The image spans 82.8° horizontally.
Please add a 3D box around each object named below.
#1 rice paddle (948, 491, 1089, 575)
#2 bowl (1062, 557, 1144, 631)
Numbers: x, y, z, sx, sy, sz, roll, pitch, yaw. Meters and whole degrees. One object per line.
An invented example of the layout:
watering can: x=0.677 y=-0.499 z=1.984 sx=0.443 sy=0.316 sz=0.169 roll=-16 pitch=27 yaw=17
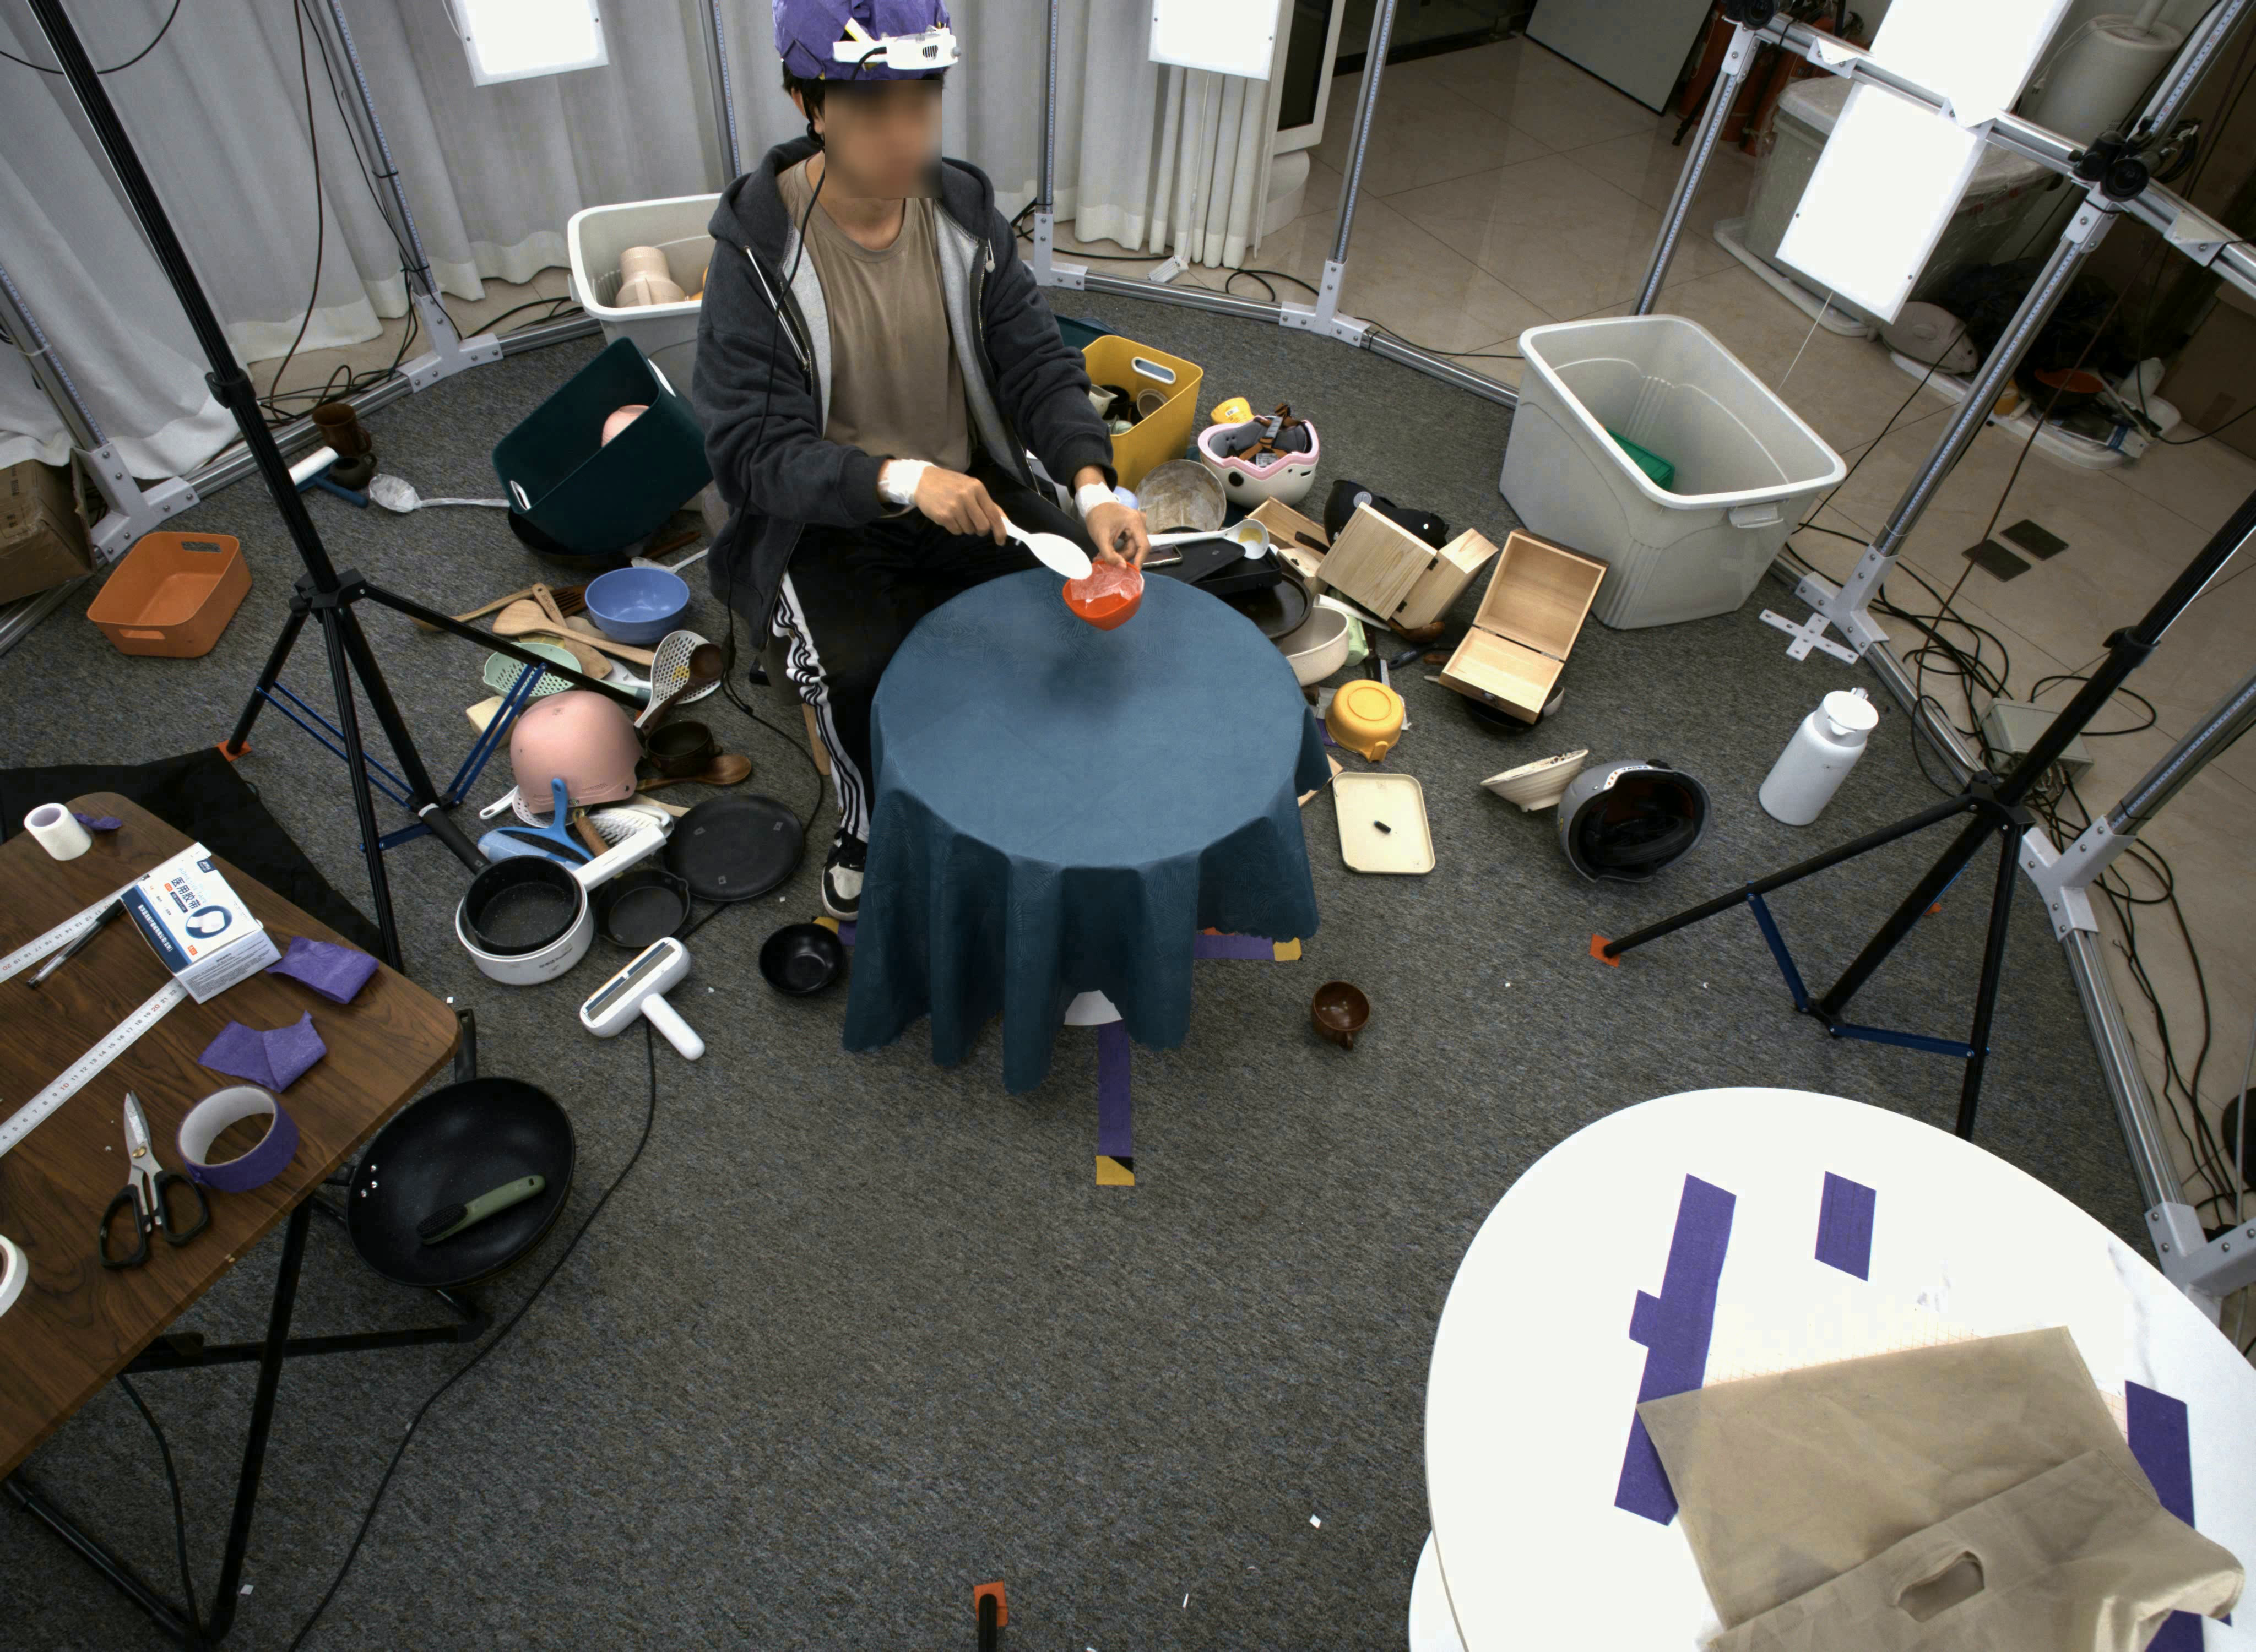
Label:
rice paddle: x=-0.141 y=-0.392 z=1.731 sx=0.203 sy=0.029 sz=0.070 roll=22 pitch=51 yaw=-19
bowl: x=-0.030 y=-0.321 z=1.814 sx=0.119 sy=0.050 sz=0.122 roll=-9 pitch=50 yaw=10
